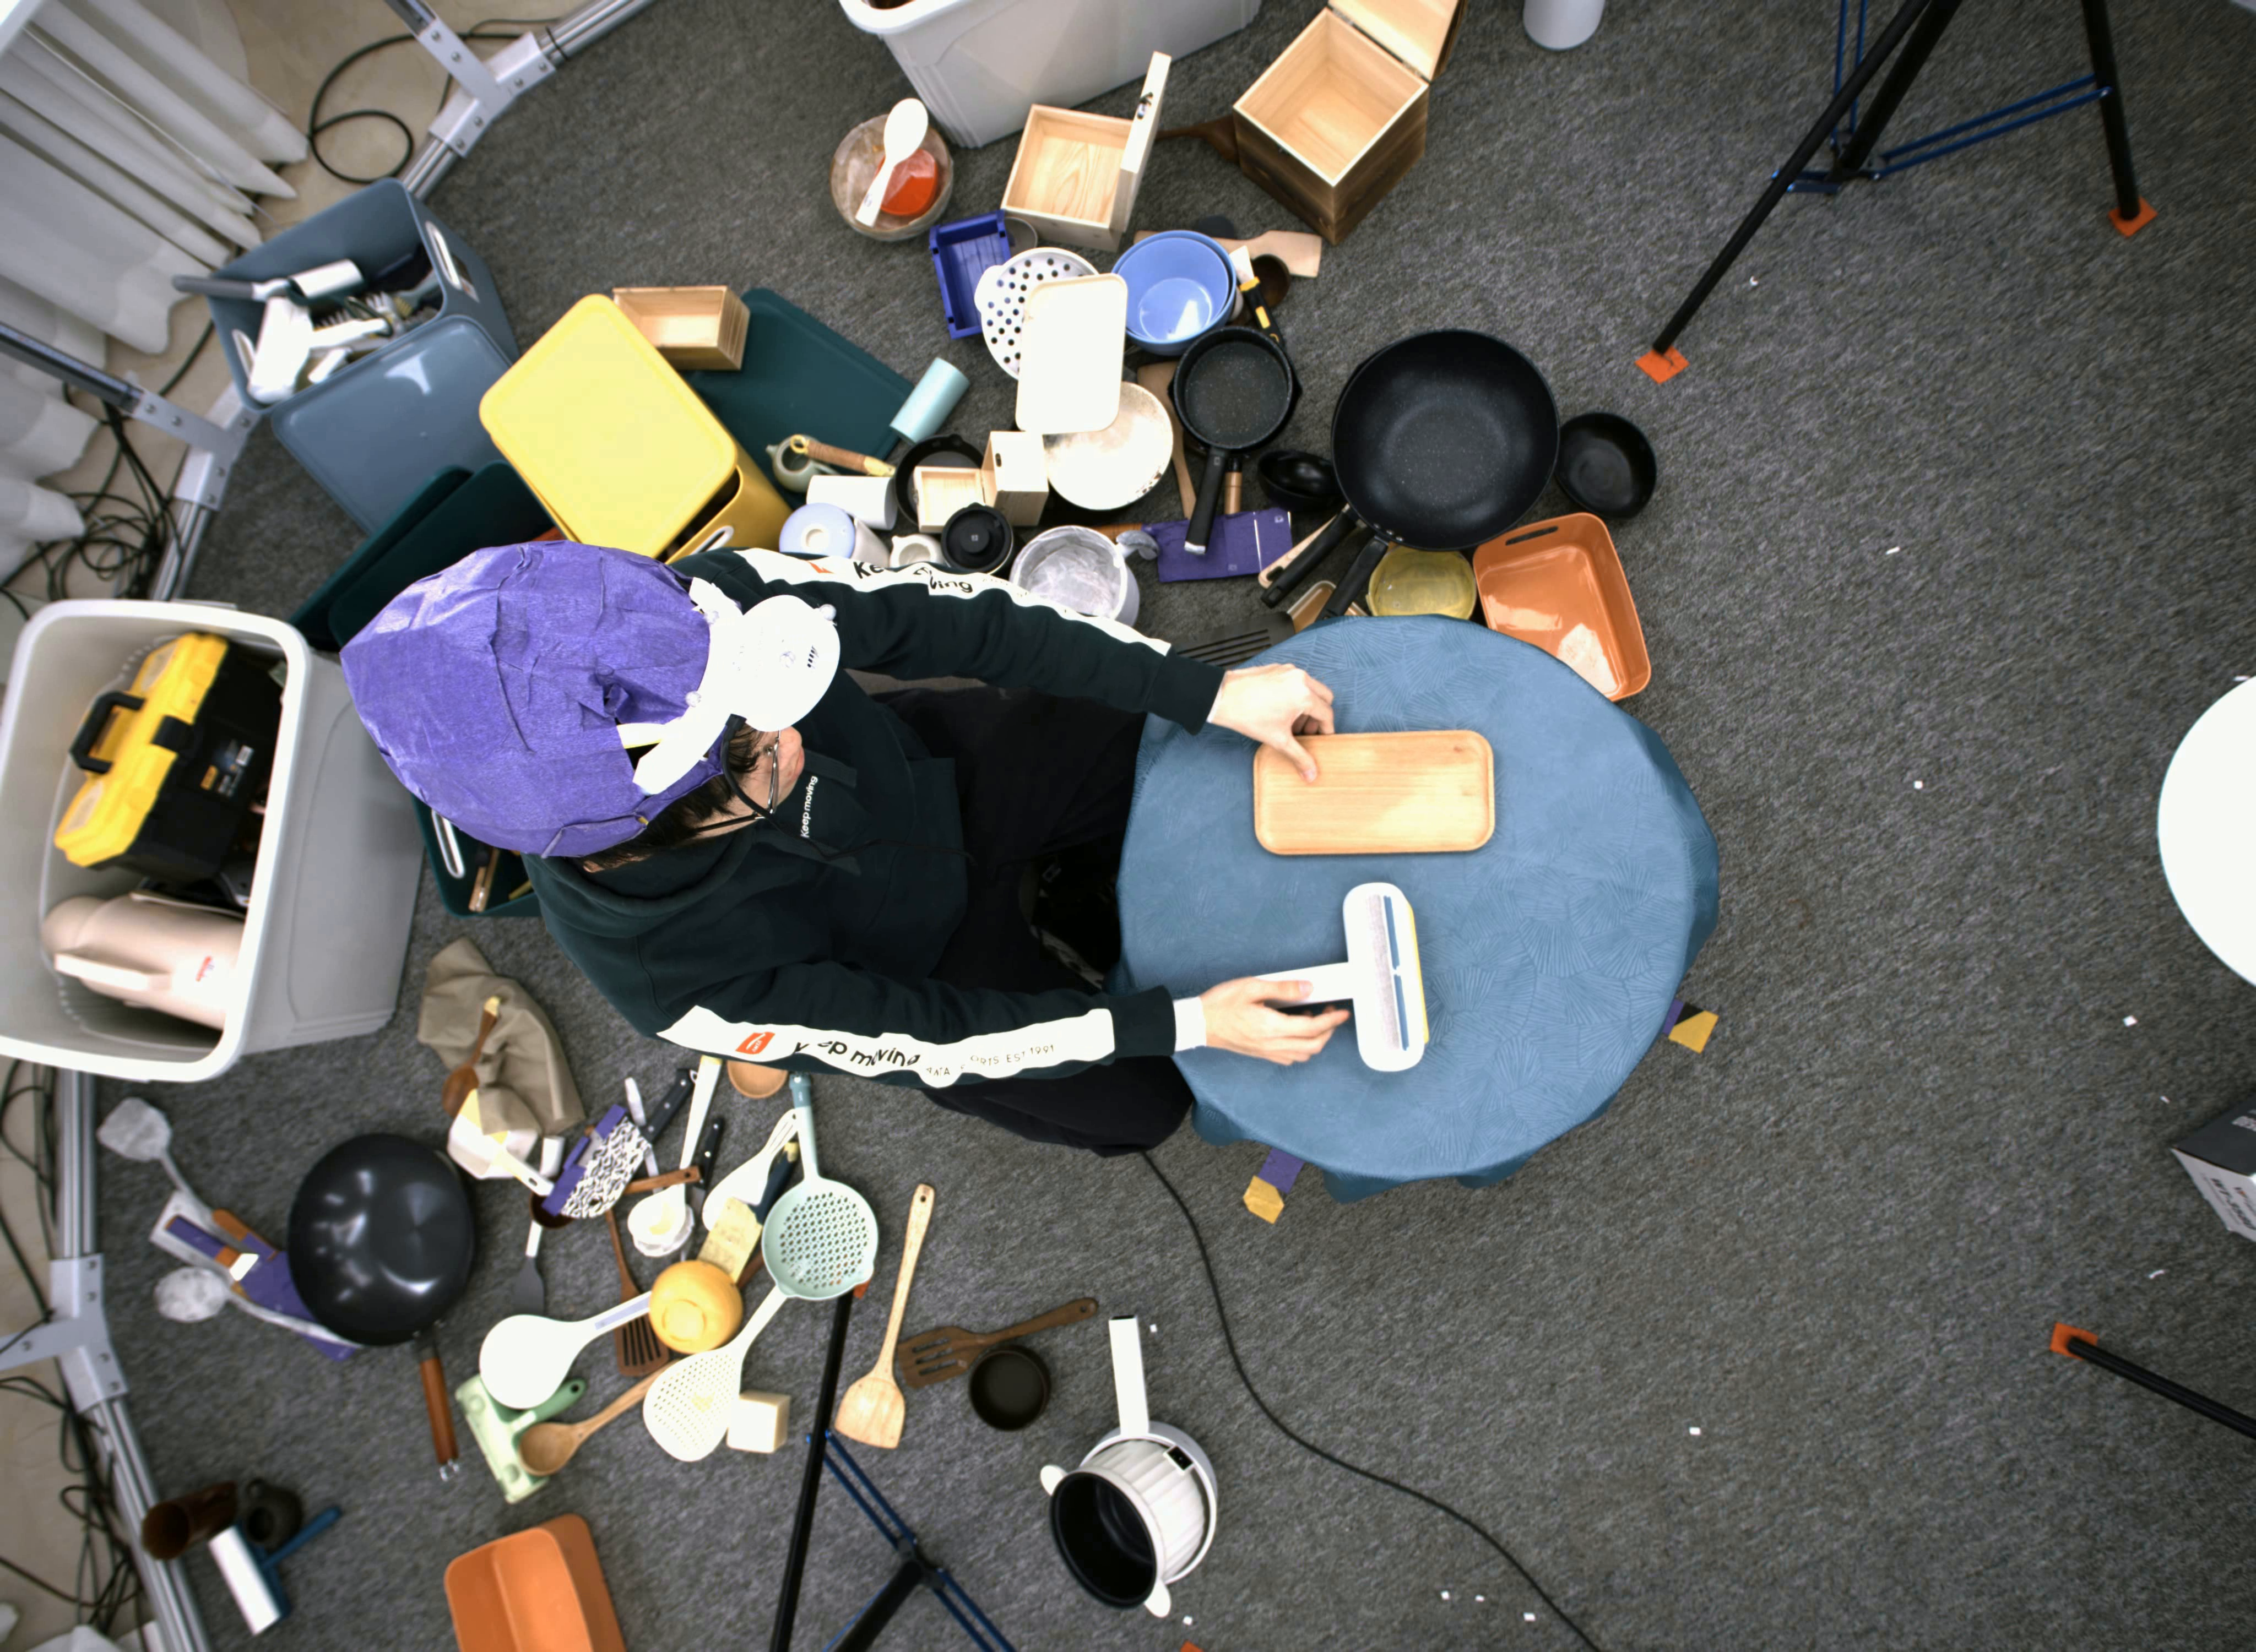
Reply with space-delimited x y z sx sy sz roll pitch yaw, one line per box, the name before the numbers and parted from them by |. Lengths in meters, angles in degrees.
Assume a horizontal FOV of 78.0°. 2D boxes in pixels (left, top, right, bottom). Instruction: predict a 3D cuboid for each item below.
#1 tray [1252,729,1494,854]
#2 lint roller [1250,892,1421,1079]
tray | 0.257 -0.037 1.451 0.252 0.023 0.130 0 89 11
lint roller | 0.212 0.167 1.445 0.194 0.074 0.191 -5 78 25
